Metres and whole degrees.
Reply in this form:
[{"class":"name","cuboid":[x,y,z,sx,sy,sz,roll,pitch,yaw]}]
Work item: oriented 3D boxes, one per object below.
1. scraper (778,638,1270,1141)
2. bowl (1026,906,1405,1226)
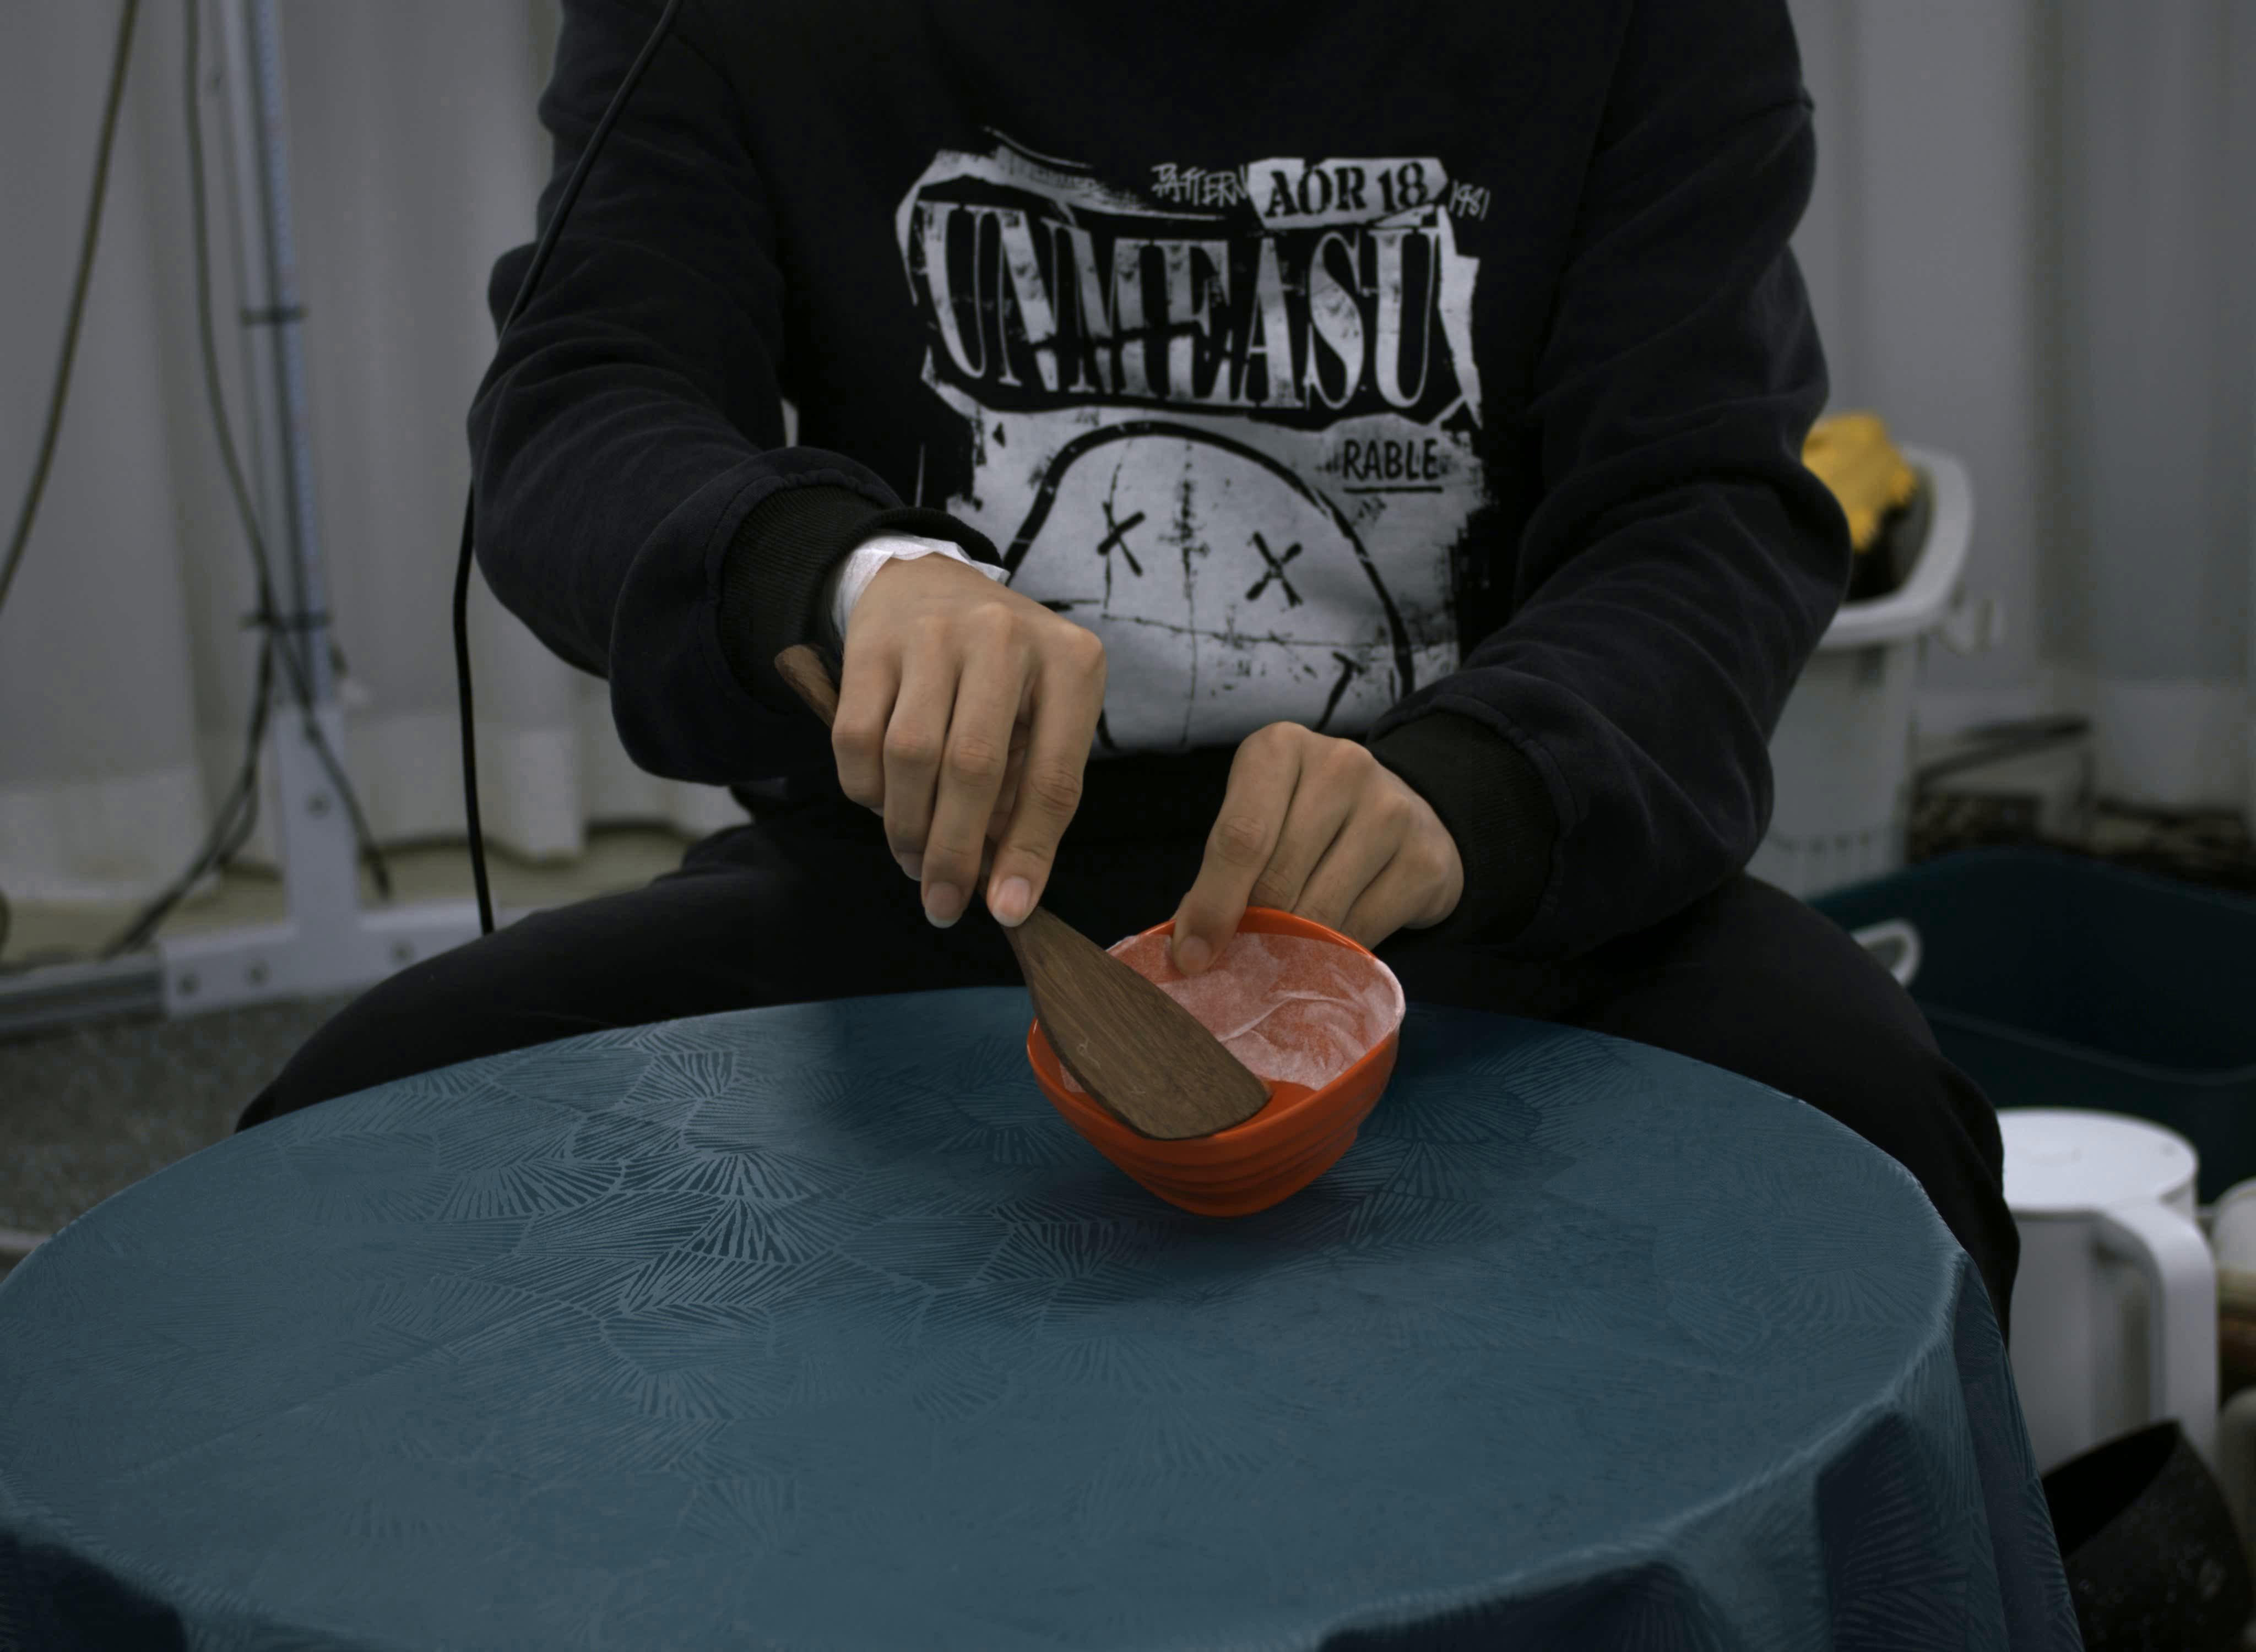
[{"class":"scraper","cuboid":[-0.038,0.018,1.682,0.213,0.011,0.075,49,29,19]},{"class":"bowl","cuboid":[0.030,0.080,1.701,0.118,0.051,0.120,-8,35,6]}]
